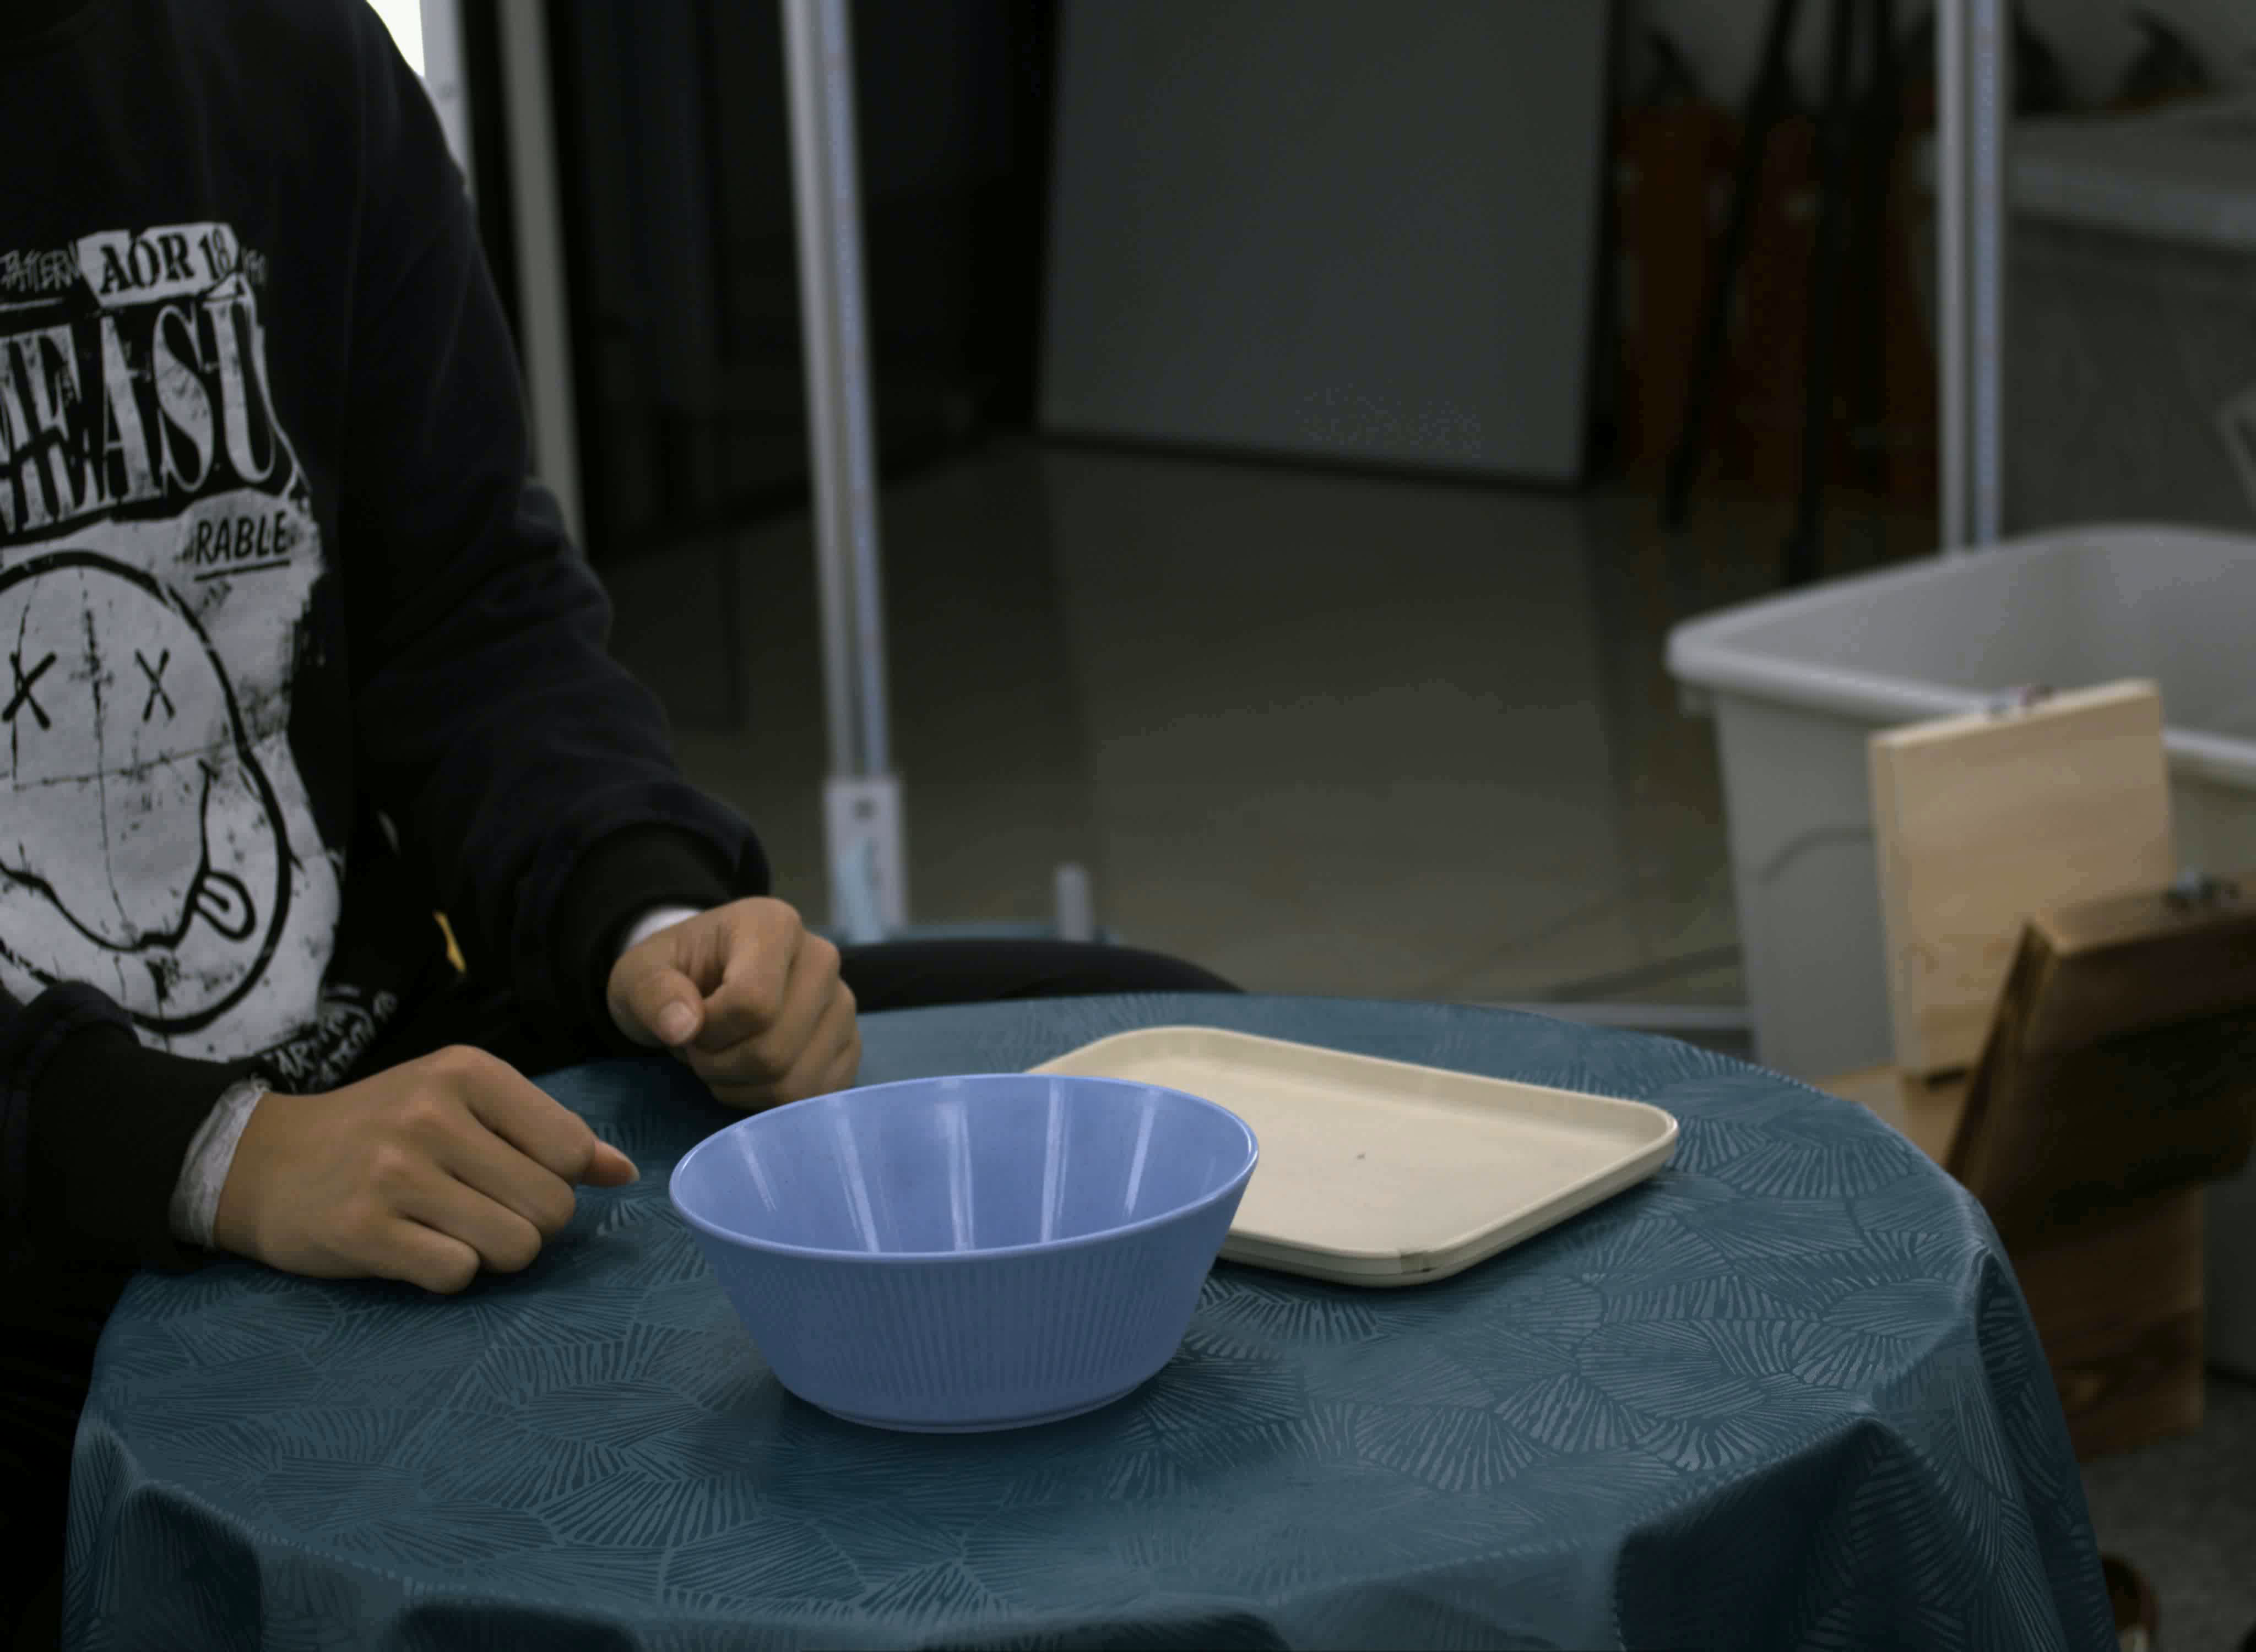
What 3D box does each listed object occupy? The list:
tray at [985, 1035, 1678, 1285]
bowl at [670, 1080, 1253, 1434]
[{"bbox_3d":[0.049,0.109,1.770,0.241,0.017,0.168,8,17,40],"label":"tray"},{"bbox_3d":[-0.047,0.130,1.601,0.174,0.071,0.176,-4,13,0],"label":"bowl"}]
